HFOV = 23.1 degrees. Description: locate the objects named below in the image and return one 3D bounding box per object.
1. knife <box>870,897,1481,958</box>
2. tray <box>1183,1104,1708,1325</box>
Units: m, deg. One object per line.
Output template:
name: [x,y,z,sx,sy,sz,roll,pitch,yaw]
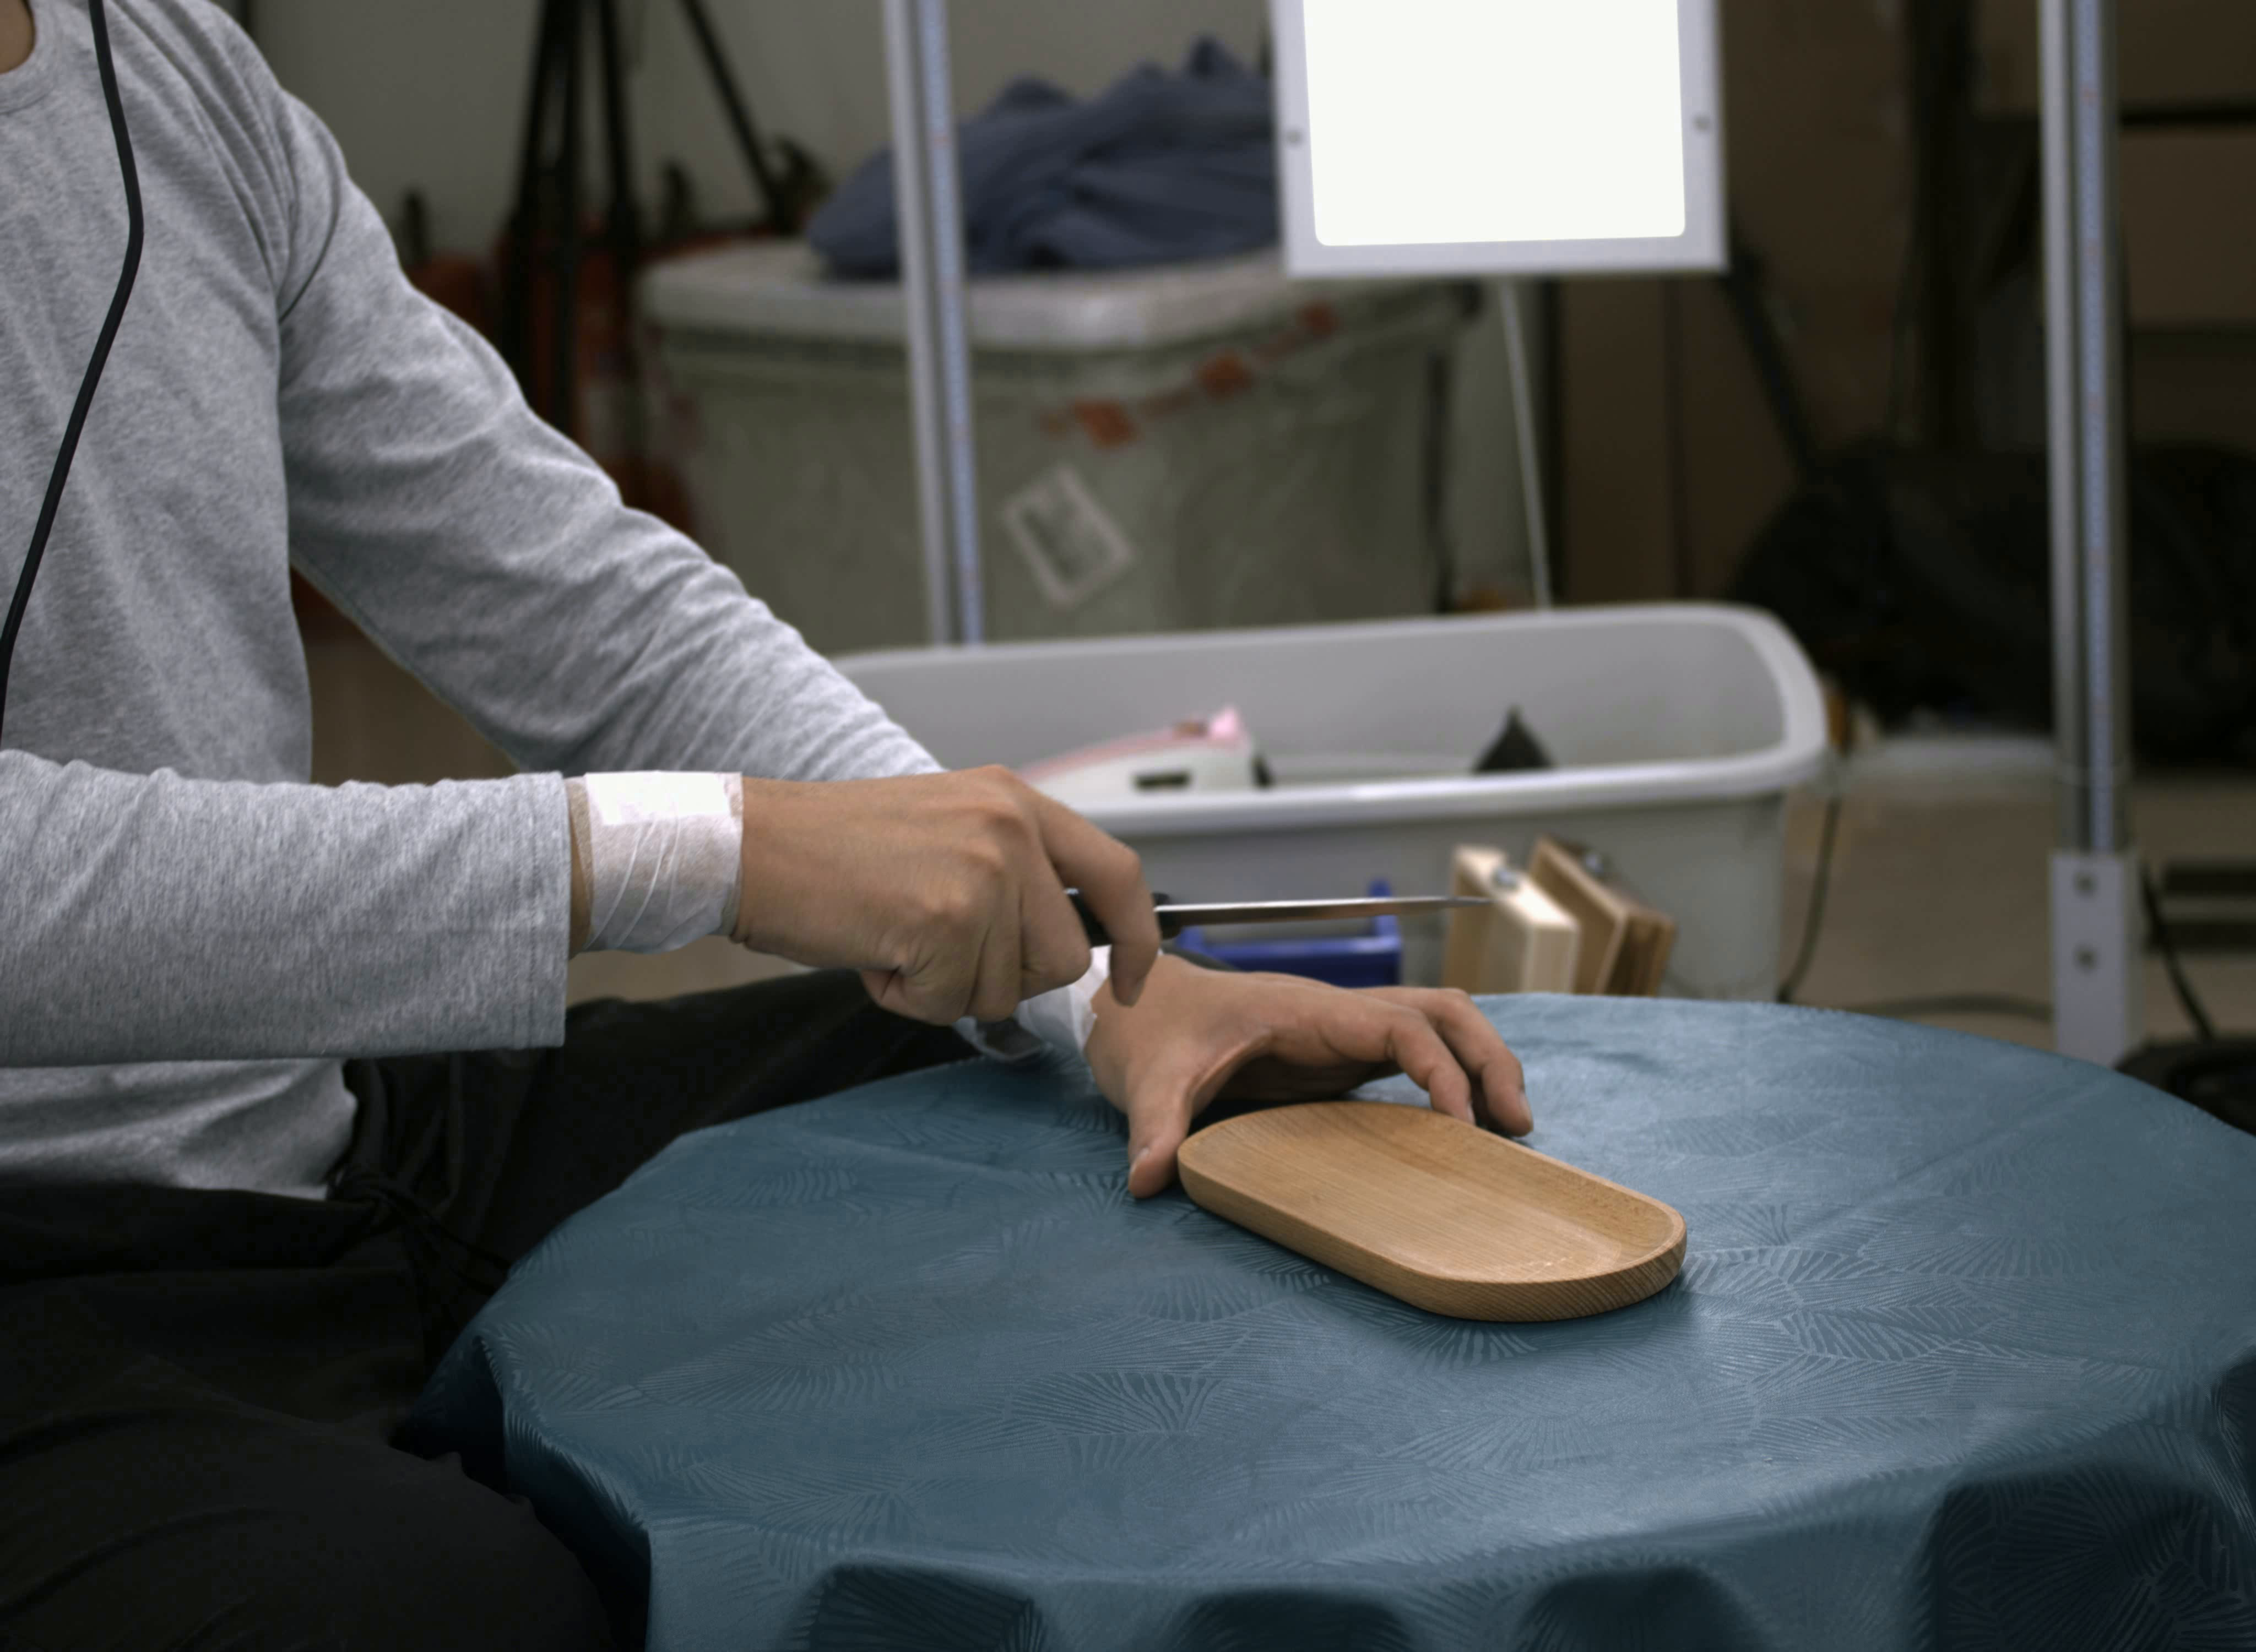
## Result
knife: [0.022,0.031,1.819,0.232,0.016,0.025,-1,-17,-30]
tray: [0.104,0.128,1.830,0.099,0.020,0.235,-15,18,-27]
